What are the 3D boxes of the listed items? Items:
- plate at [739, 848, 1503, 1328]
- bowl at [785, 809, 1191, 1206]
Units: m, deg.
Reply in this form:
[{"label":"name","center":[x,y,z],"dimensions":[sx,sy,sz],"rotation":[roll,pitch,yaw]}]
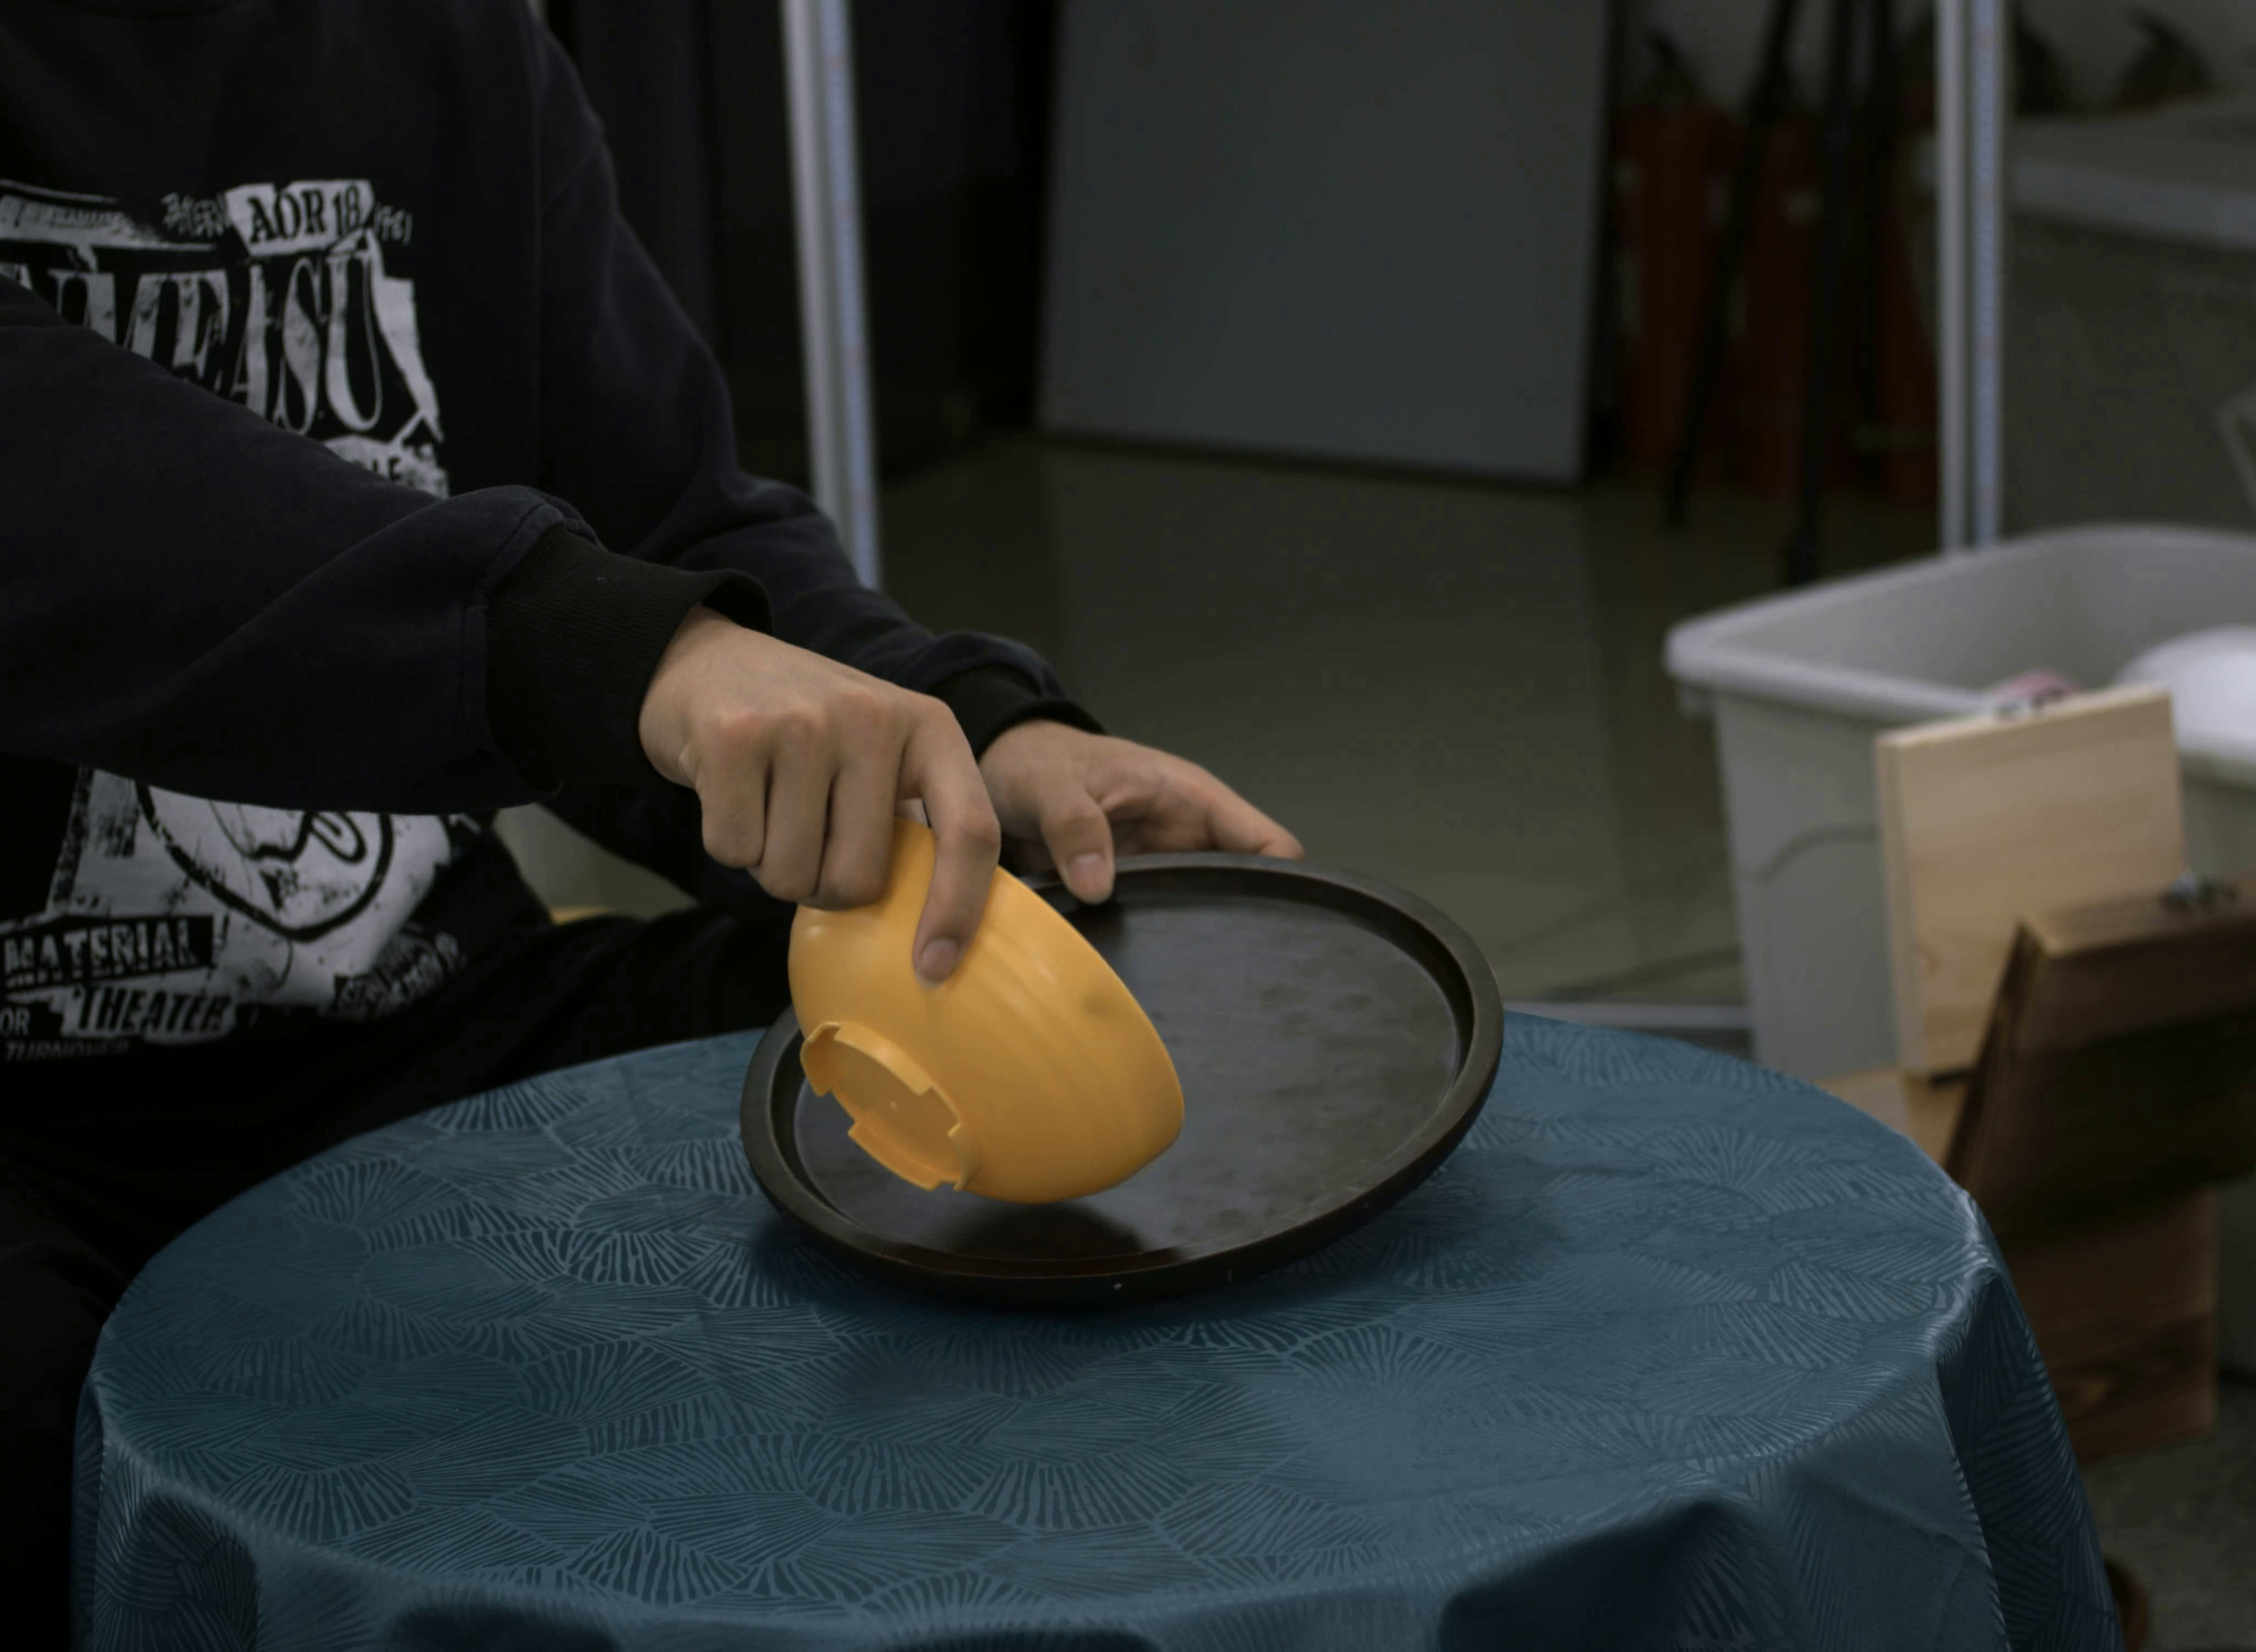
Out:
[{"label":"plate","center":[-0.001,0.082,1.750],"dimensions":[0.252,0.029,0.256],"rotation":[-10,31,5]},{"label":"bowl","center":[-0.055,0.068,1.635],"dimensions":[0.146,0.145,0.060],"rotation":[11,49,45]}]
